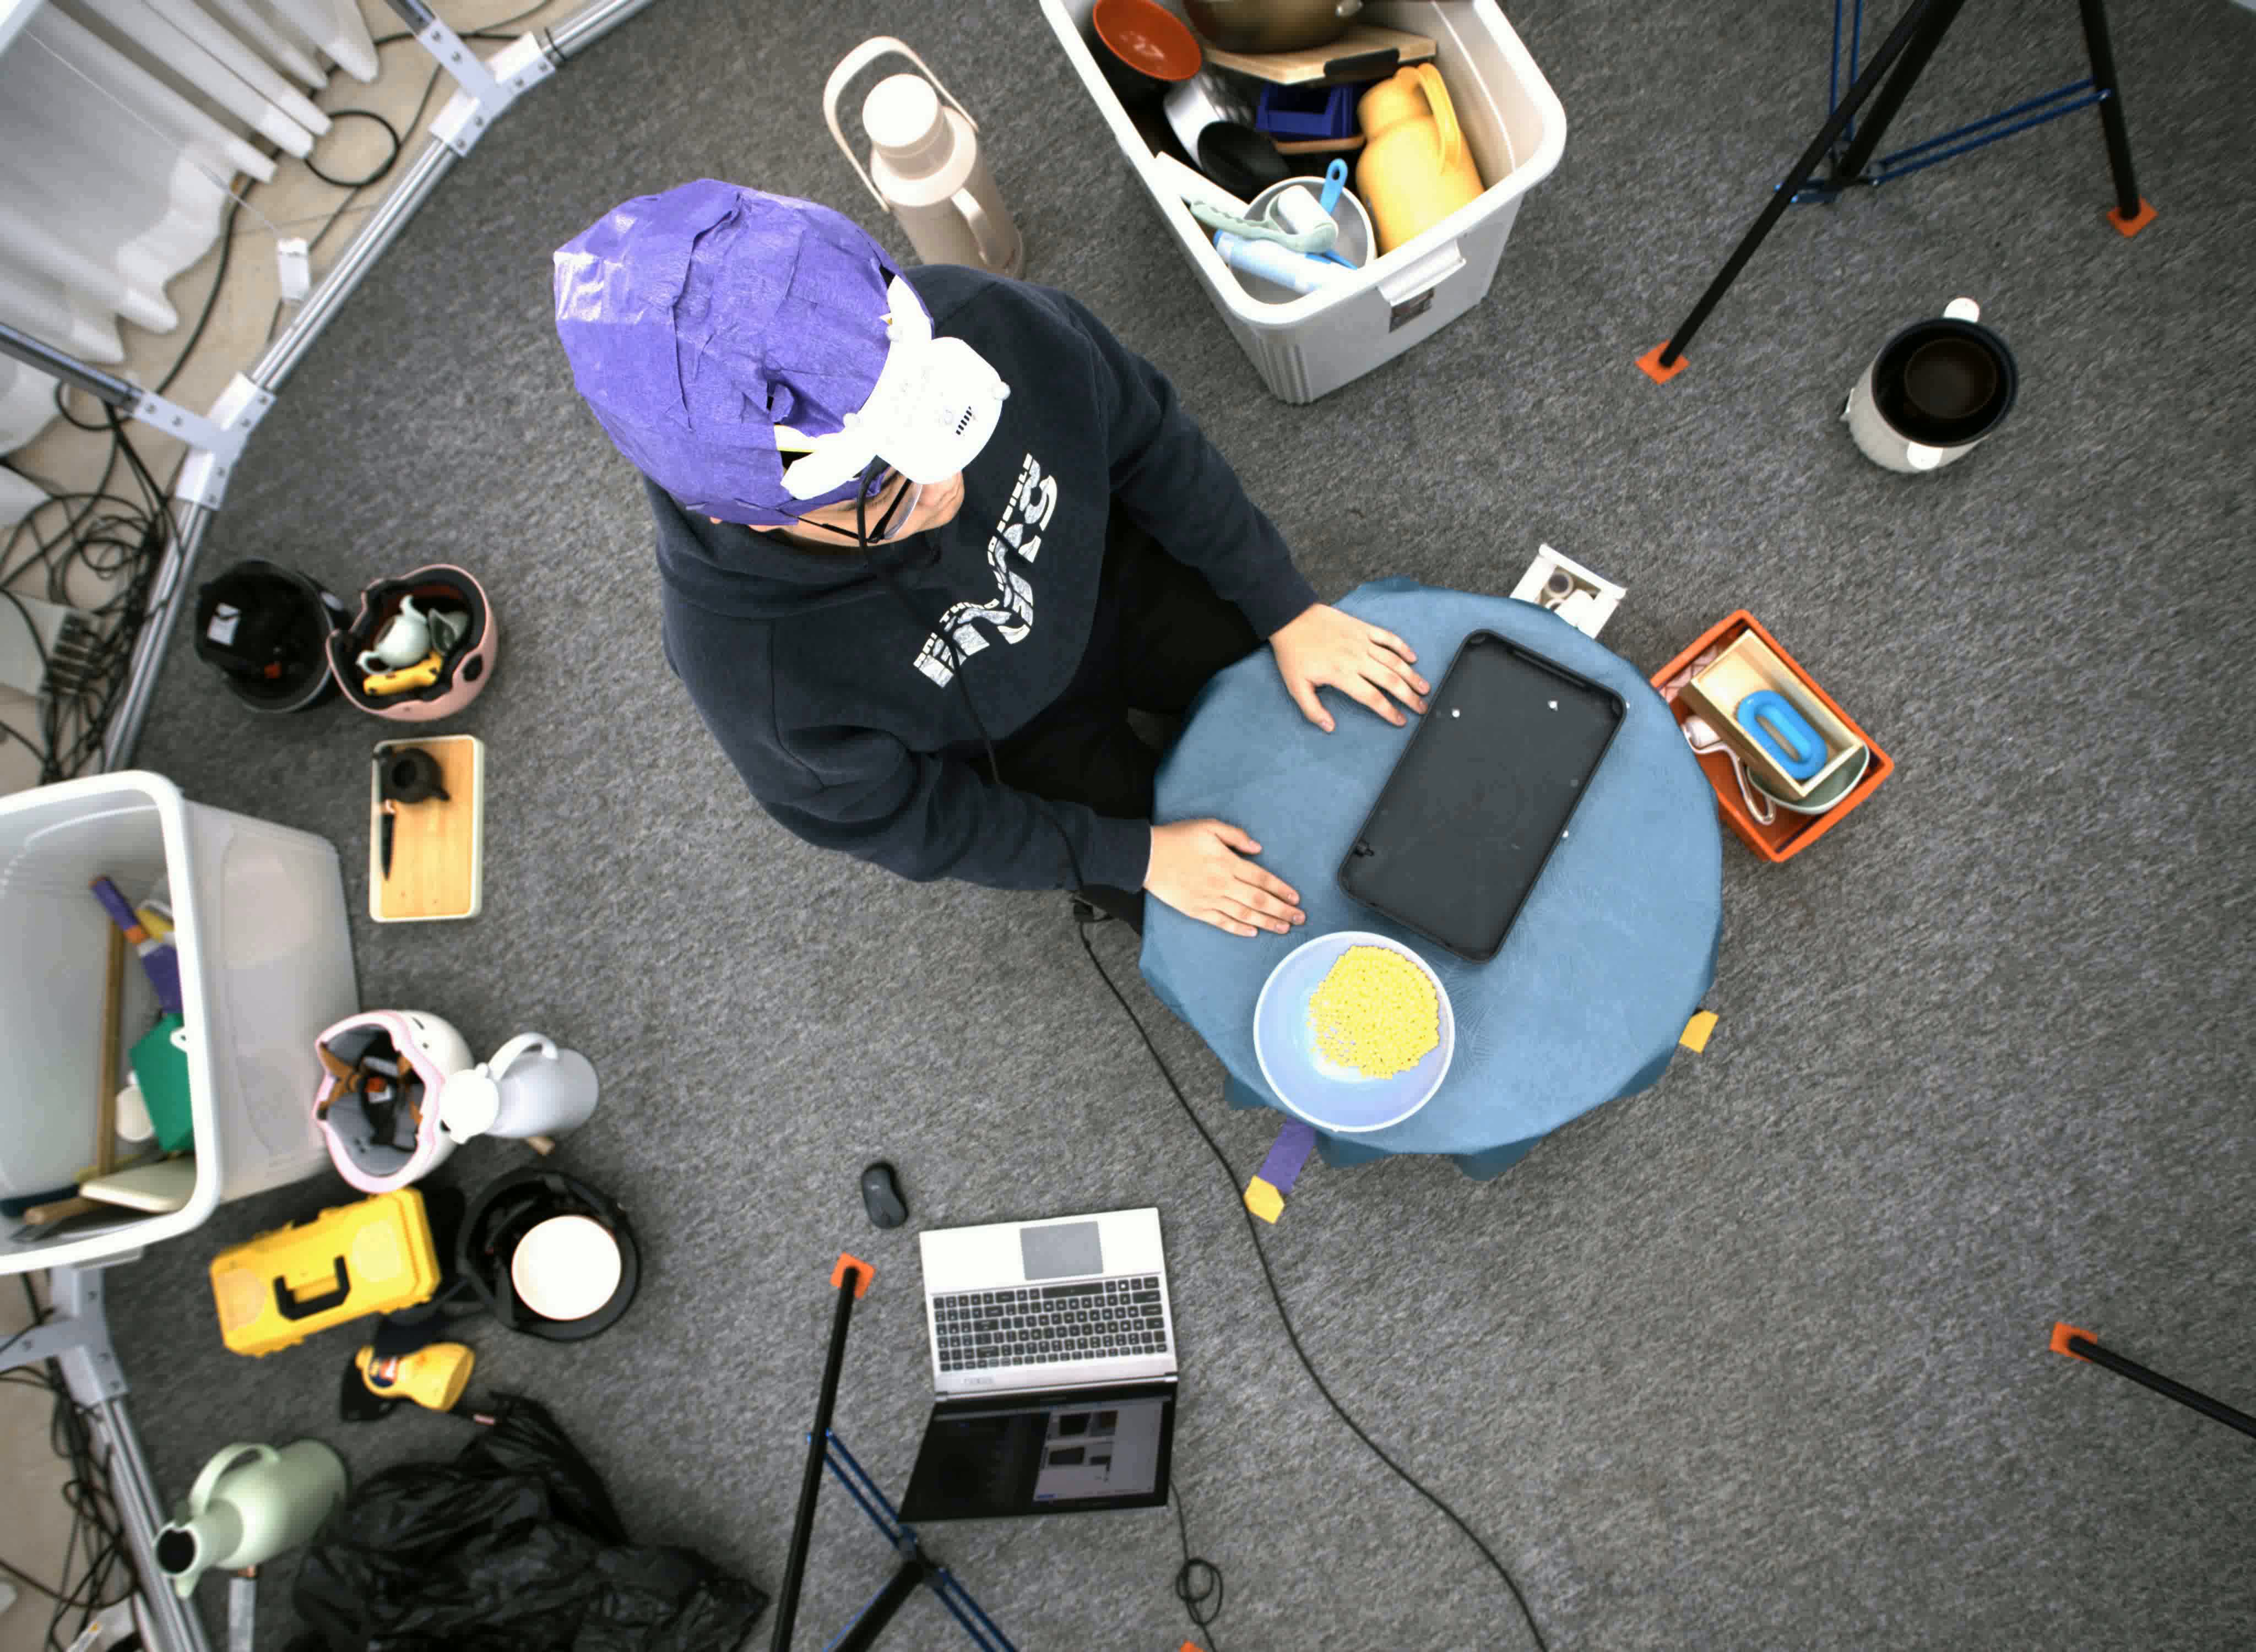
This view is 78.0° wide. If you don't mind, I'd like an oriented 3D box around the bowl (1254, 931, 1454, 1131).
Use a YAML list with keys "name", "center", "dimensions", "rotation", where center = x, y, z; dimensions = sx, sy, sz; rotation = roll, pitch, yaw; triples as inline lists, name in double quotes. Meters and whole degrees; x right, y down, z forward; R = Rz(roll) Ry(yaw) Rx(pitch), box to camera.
- name: "bowl"
  center: [0.231, 0.205, 1.413]
  dimensions: [0.197, 0.095, 0.195]
  rotation: [-1, 87, 11]

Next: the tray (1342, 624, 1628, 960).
- name: "tray"
  center: [0.370, -0.038, 1.431]
  dimensions: [0.184, 0.037, 0.318]
  rotation: [27, 93, 12]
